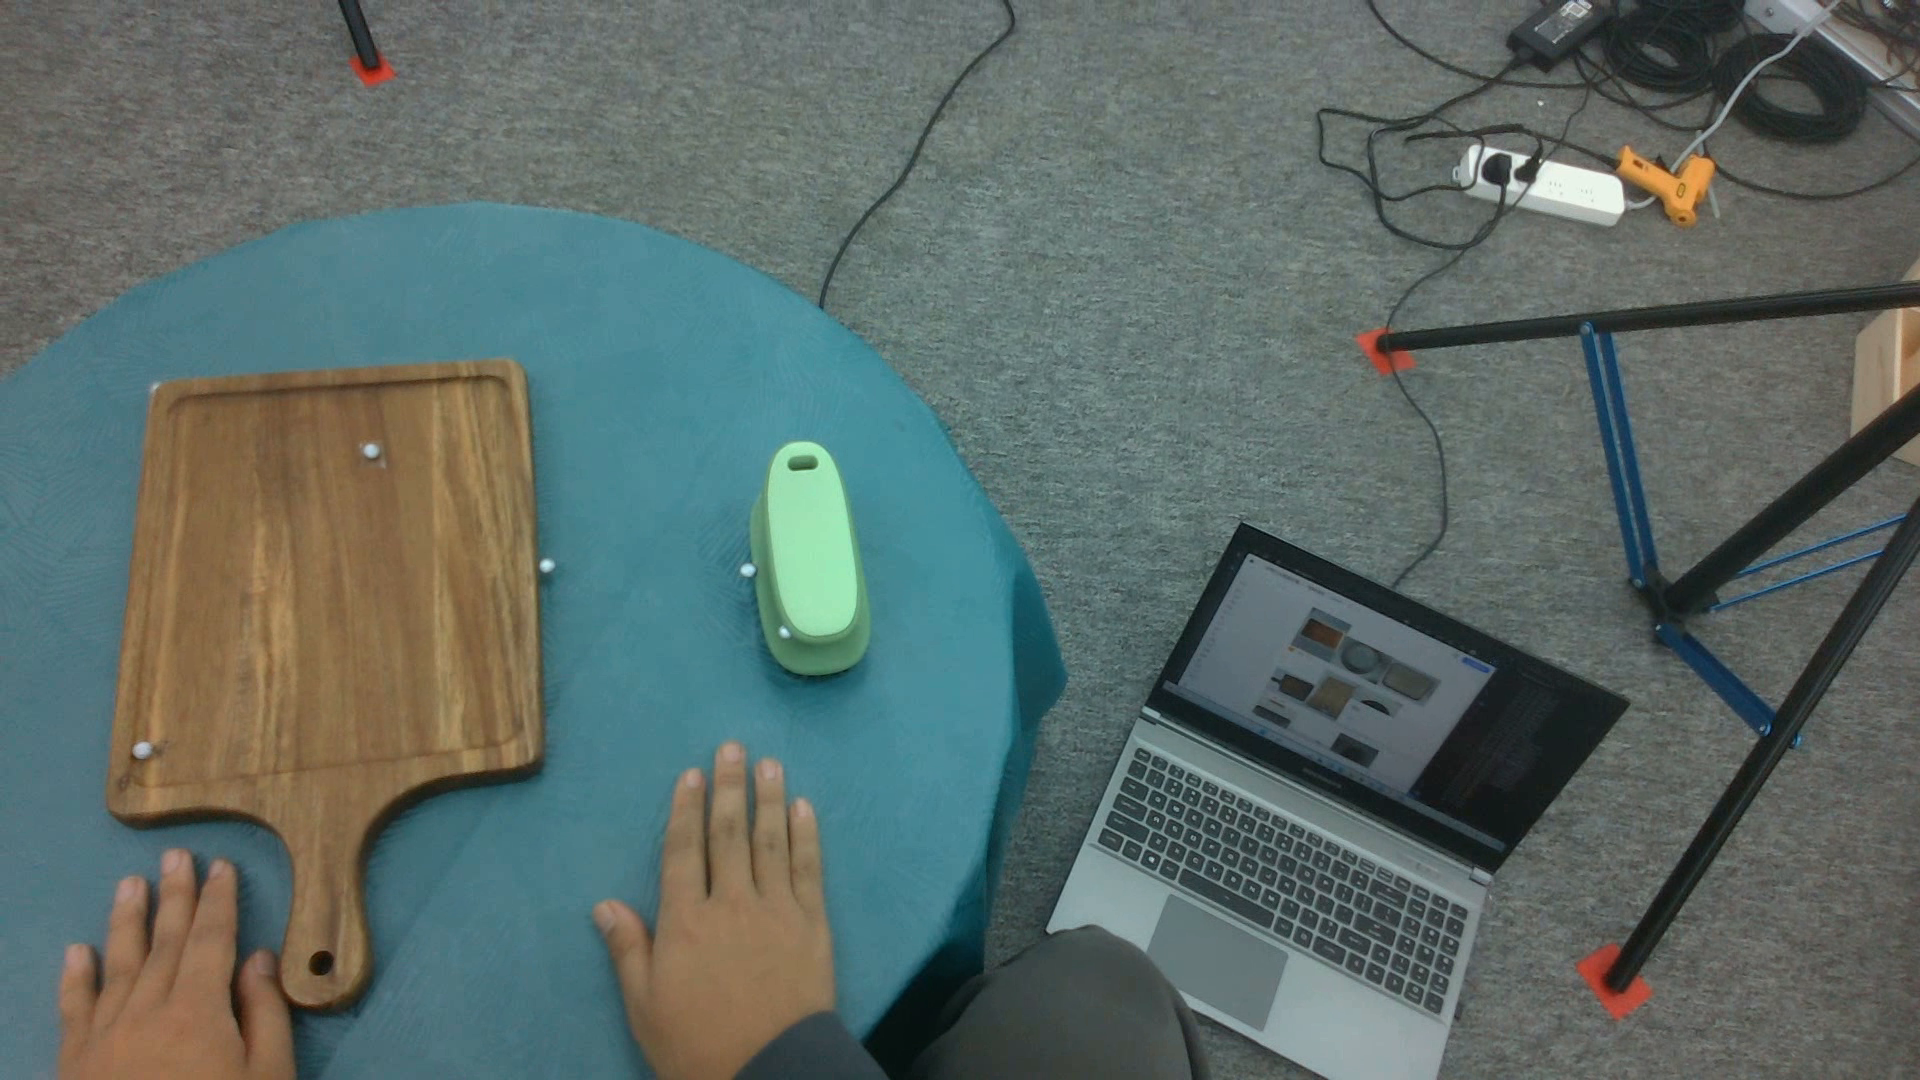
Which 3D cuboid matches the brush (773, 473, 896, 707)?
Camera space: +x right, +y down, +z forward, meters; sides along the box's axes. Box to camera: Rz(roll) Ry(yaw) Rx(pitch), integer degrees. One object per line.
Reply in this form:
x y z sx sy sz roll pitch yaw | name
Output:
-0.070 0.031 0.762 0.060 0.075 0.123 -10 74 -11 | brush

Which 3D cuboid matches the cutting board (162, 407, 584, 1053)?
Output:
-0.305 0.086 0.721 0.201 0.023 0.353 -8 60 -11 | cutting board
